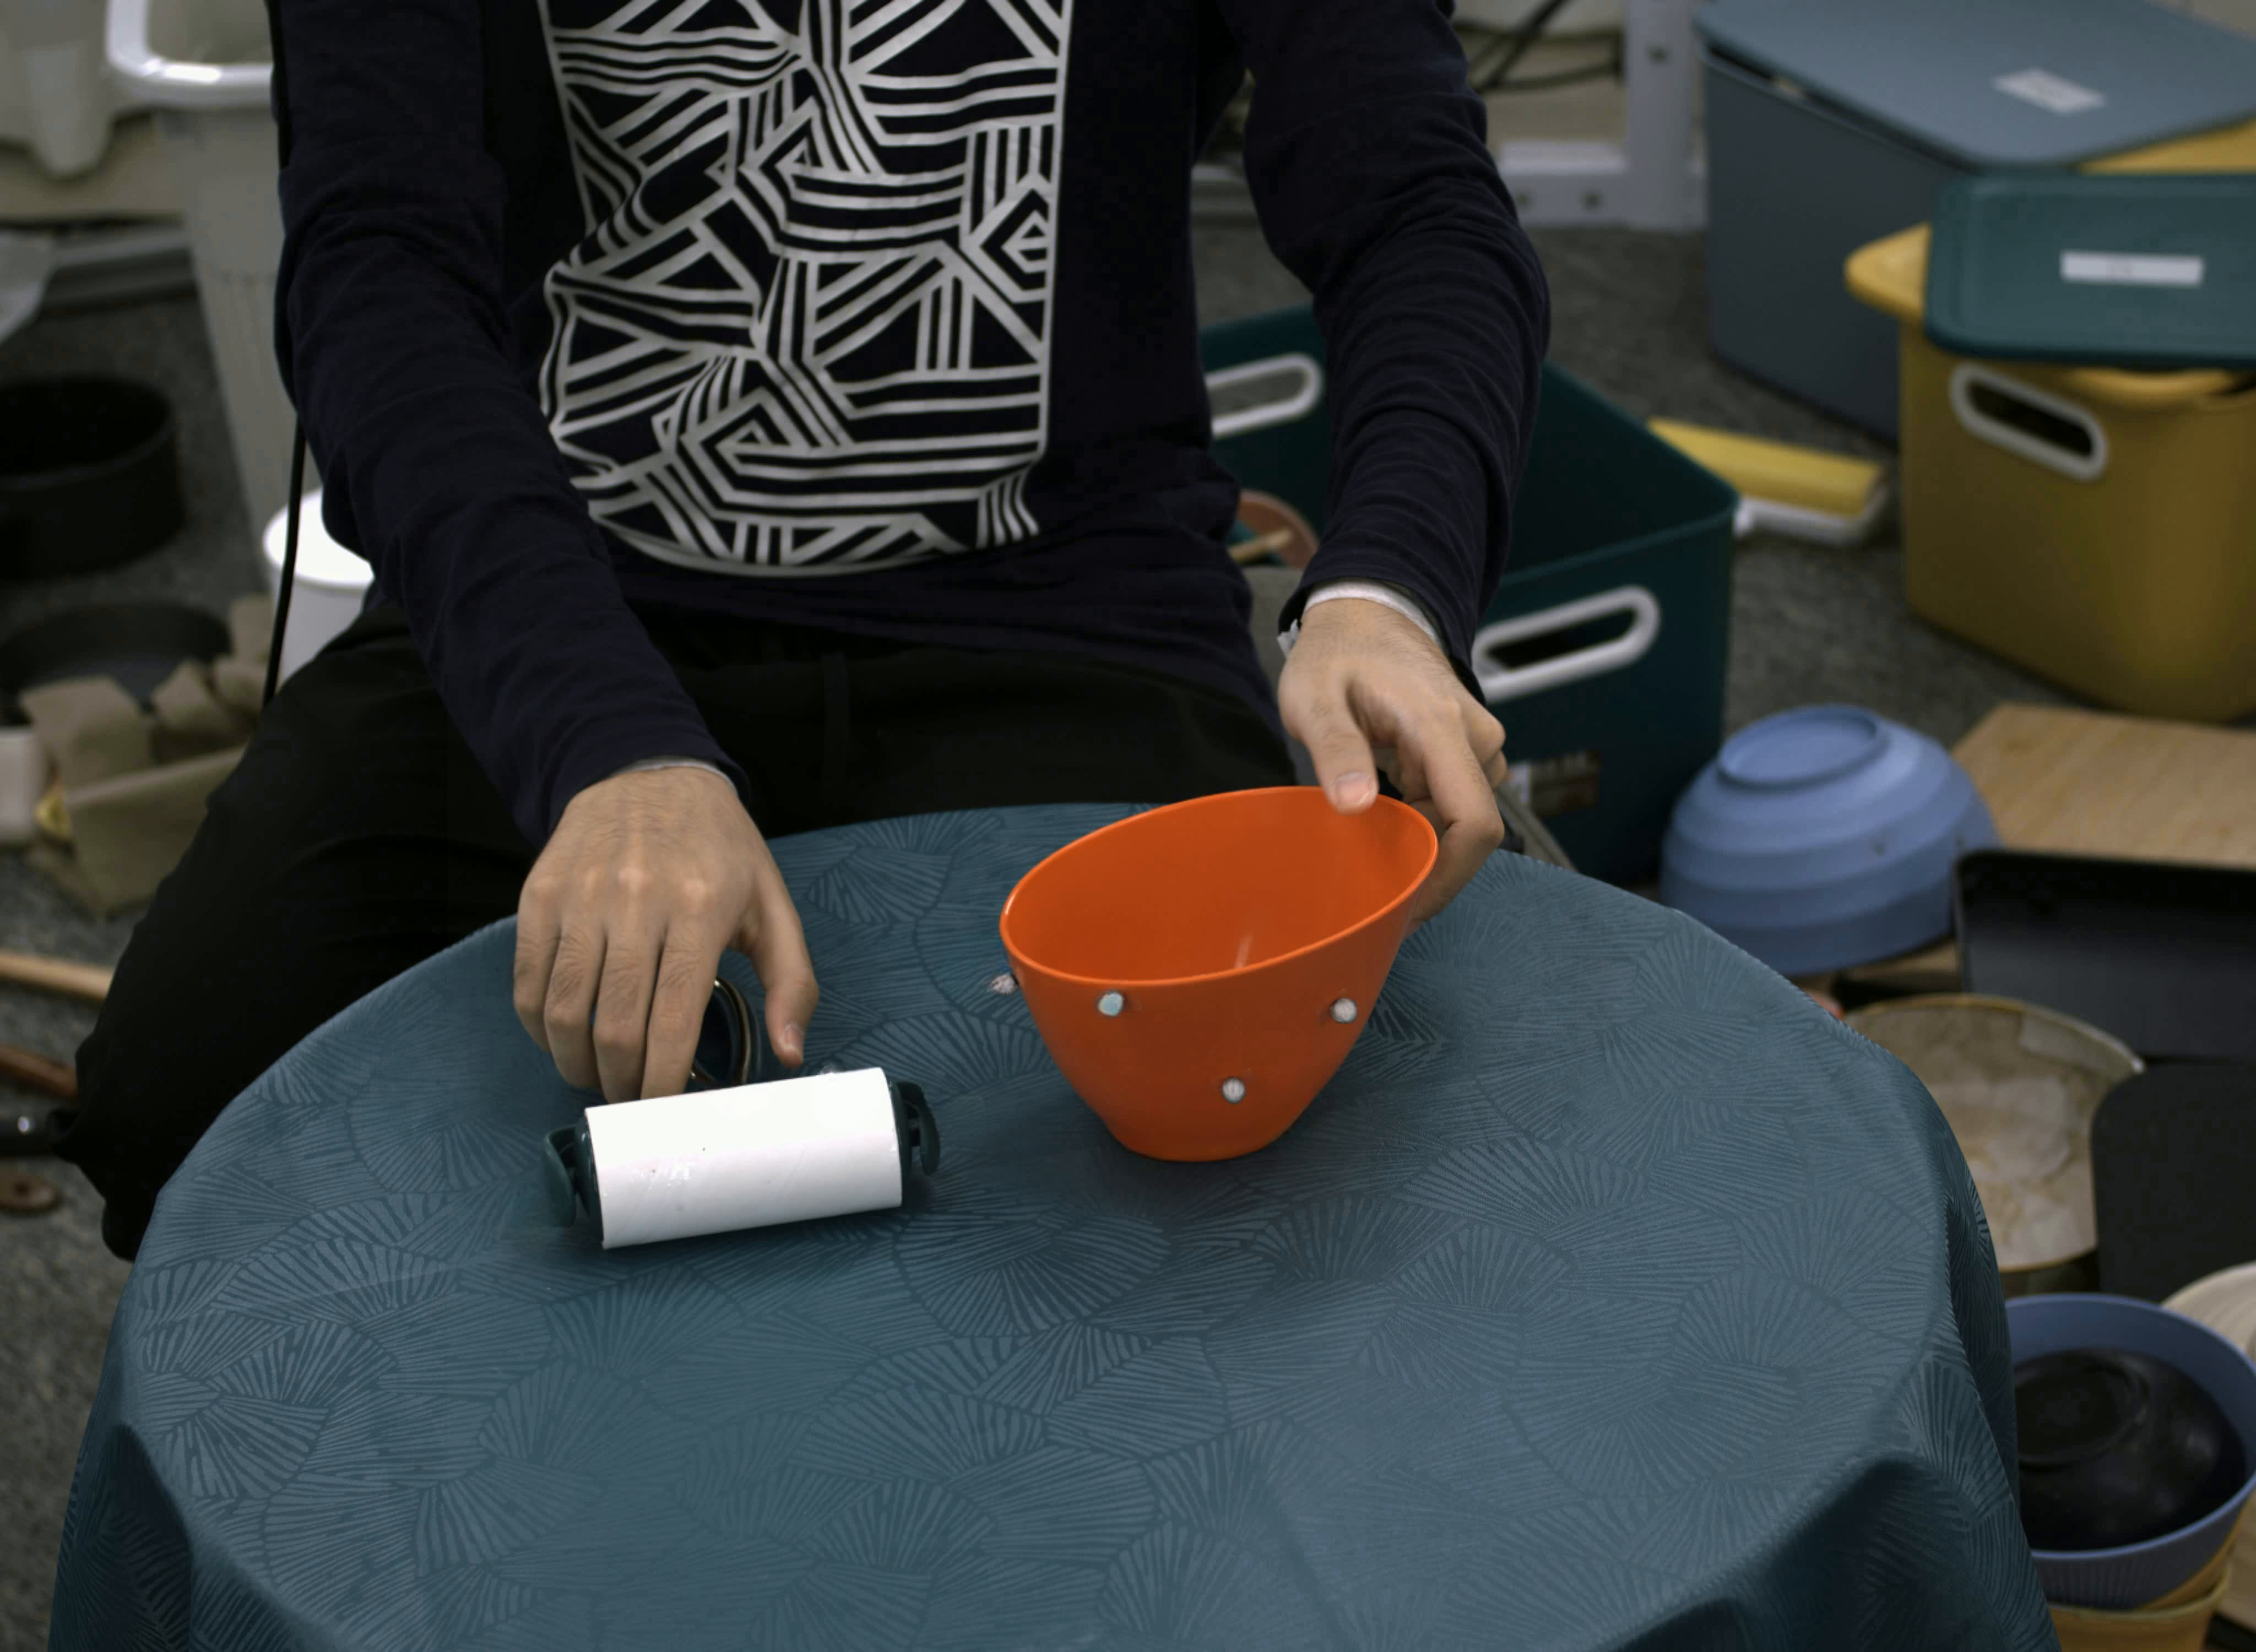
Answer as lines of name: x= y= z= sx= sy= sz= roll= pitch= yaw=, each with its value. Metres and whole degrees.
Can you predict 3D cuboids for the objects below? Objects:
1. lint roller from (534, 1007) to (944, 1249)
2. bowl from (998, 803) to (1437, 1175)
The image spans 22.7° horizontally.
lint roller: x=-0.141 y=0.083 z=1.907 sx=0.134 sy=0.048 sz=0.182 roll=-8 pitch=24 yaw=-9
bowl: x=0.031 y=0.058 z=1.882 sx=0.147 sy=0.103 sz=0.150 roll=-2 pitch=25 yaw=1
